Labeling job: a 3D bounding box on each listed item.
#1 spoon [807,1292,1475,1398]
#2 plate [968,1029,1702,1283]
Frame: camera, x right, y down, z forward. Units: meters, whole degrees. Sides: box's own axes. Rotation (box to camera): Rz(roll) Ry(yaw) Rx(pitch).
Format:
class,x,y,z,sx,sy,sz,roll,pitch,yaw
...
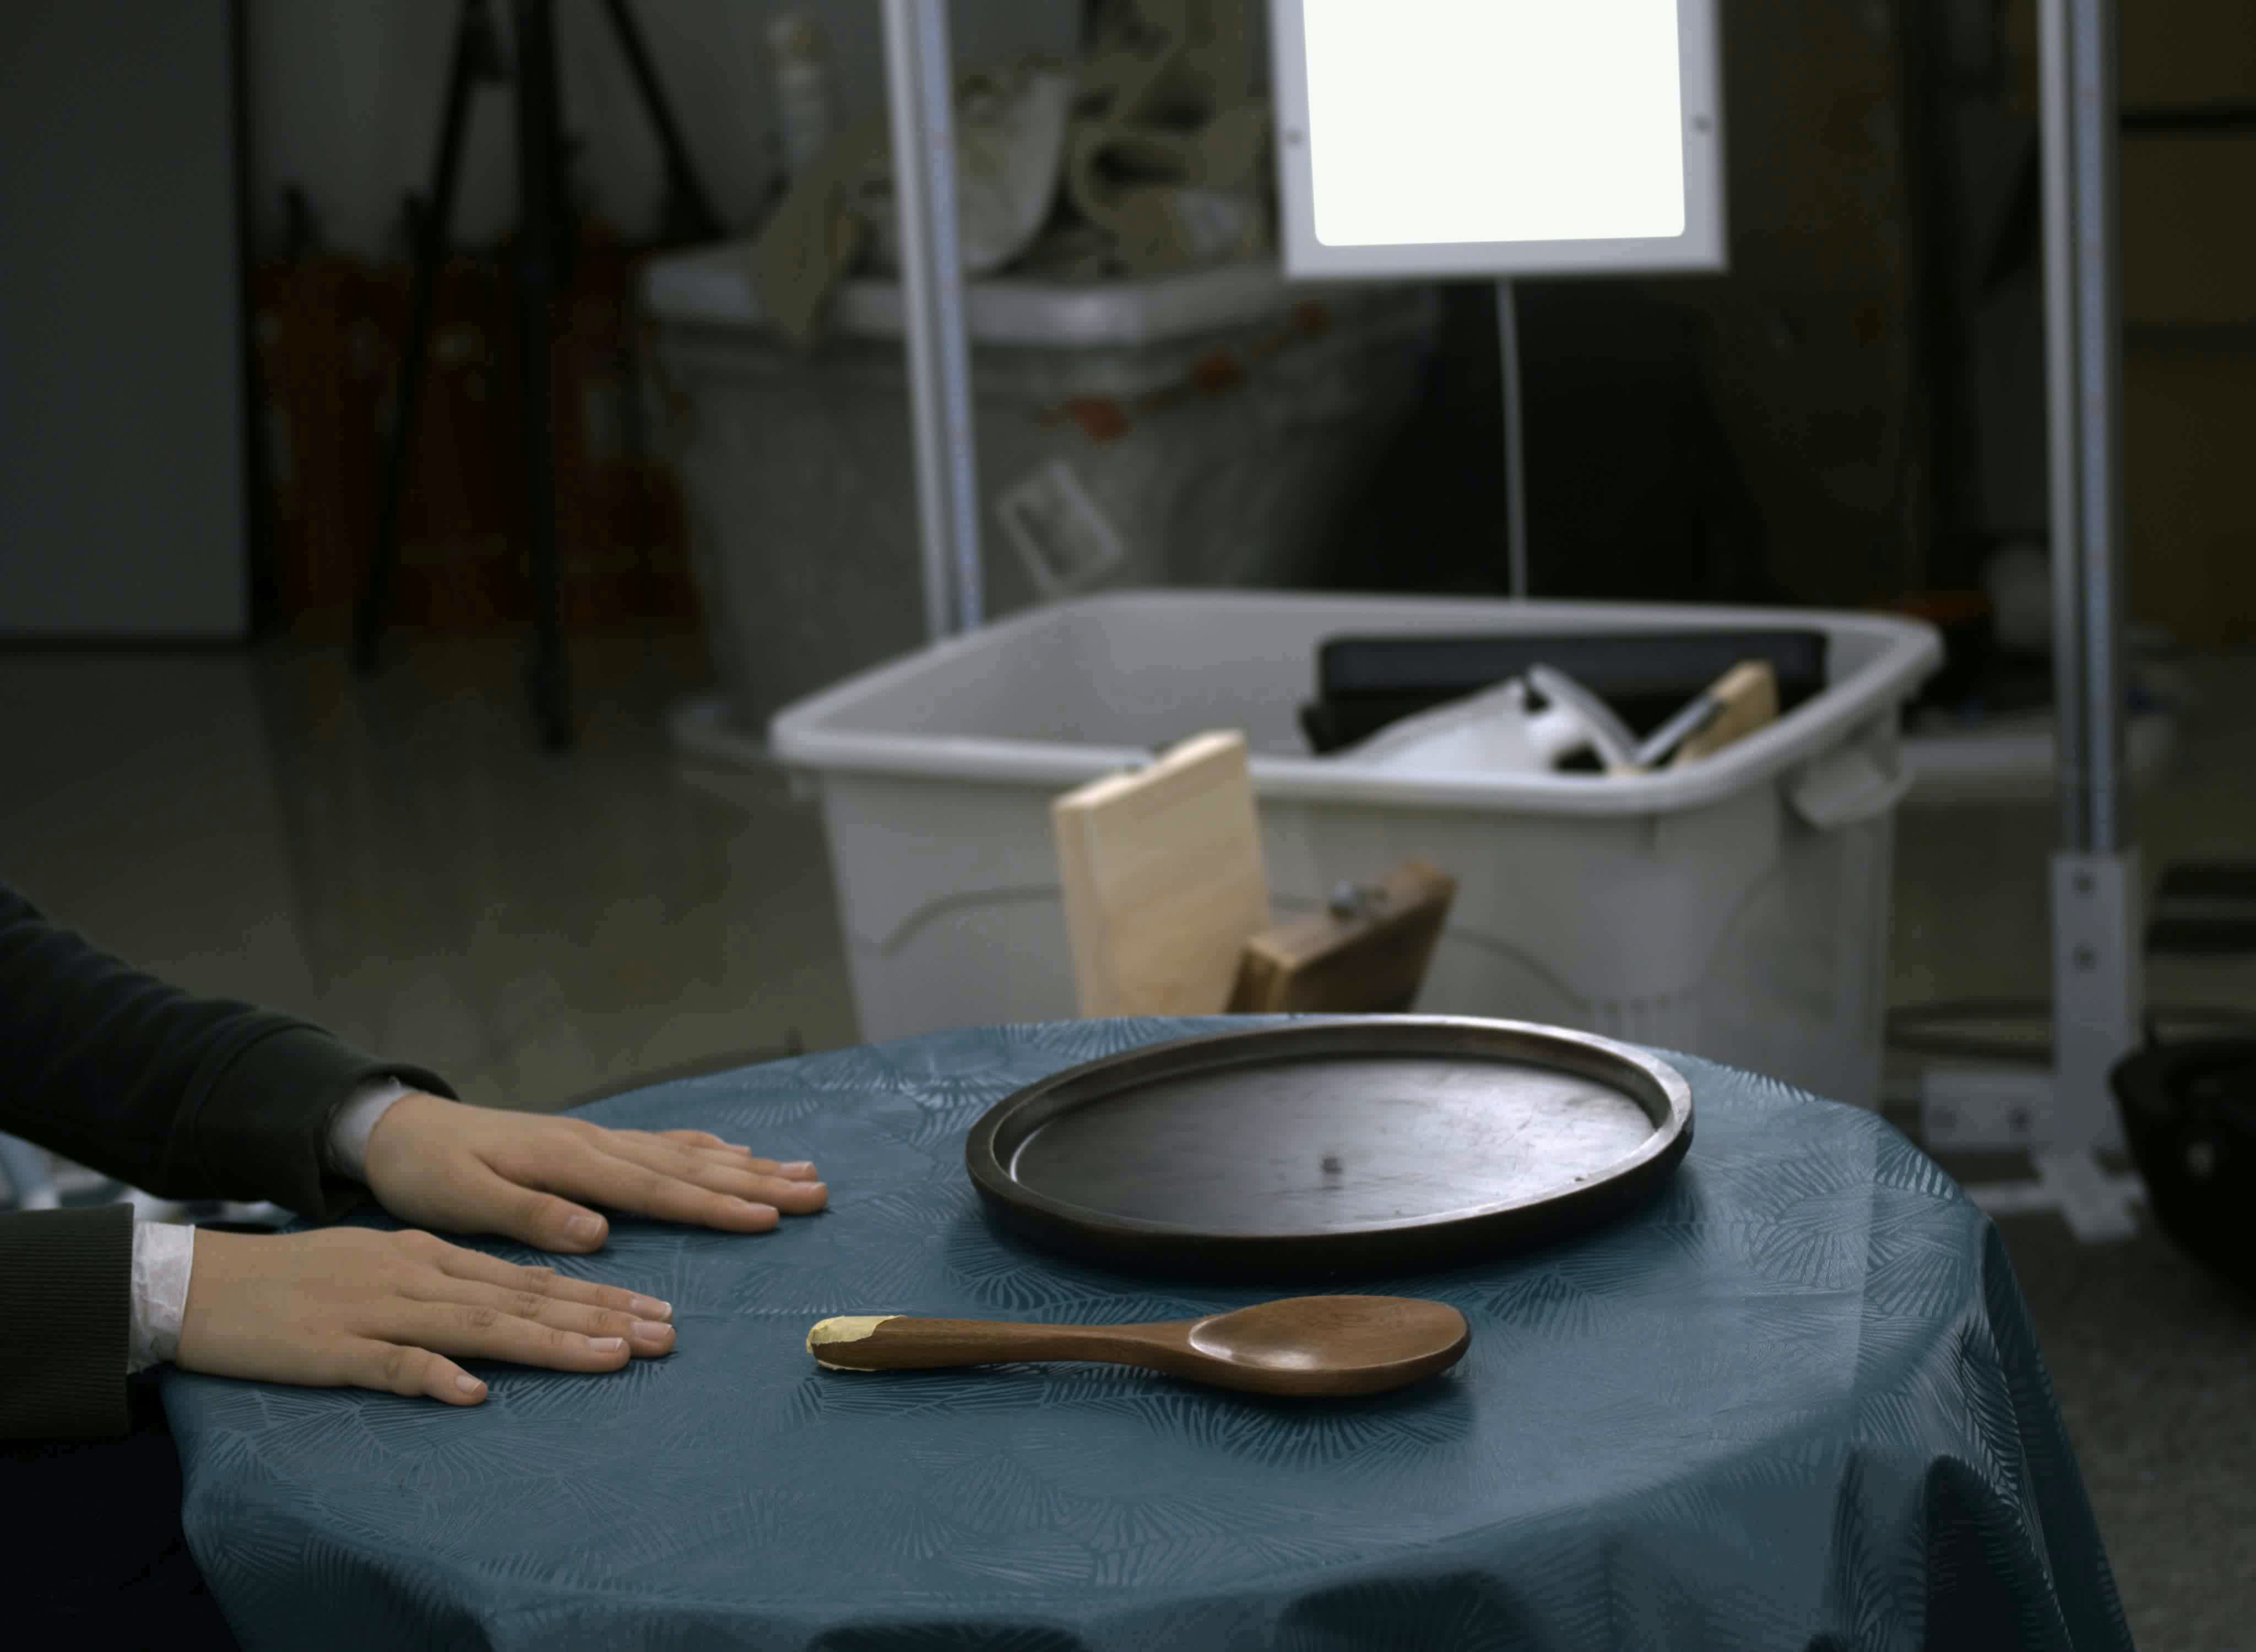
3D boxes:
class,x,y,z,sx,sy,sz,roll,pitch,yaw
spoon,0.003,0.162,1.715,0.218,0.017,0.074,0,15,19
plate,0.071,0.111,1.890,0.254,0.029,0.254,-4,13,0
